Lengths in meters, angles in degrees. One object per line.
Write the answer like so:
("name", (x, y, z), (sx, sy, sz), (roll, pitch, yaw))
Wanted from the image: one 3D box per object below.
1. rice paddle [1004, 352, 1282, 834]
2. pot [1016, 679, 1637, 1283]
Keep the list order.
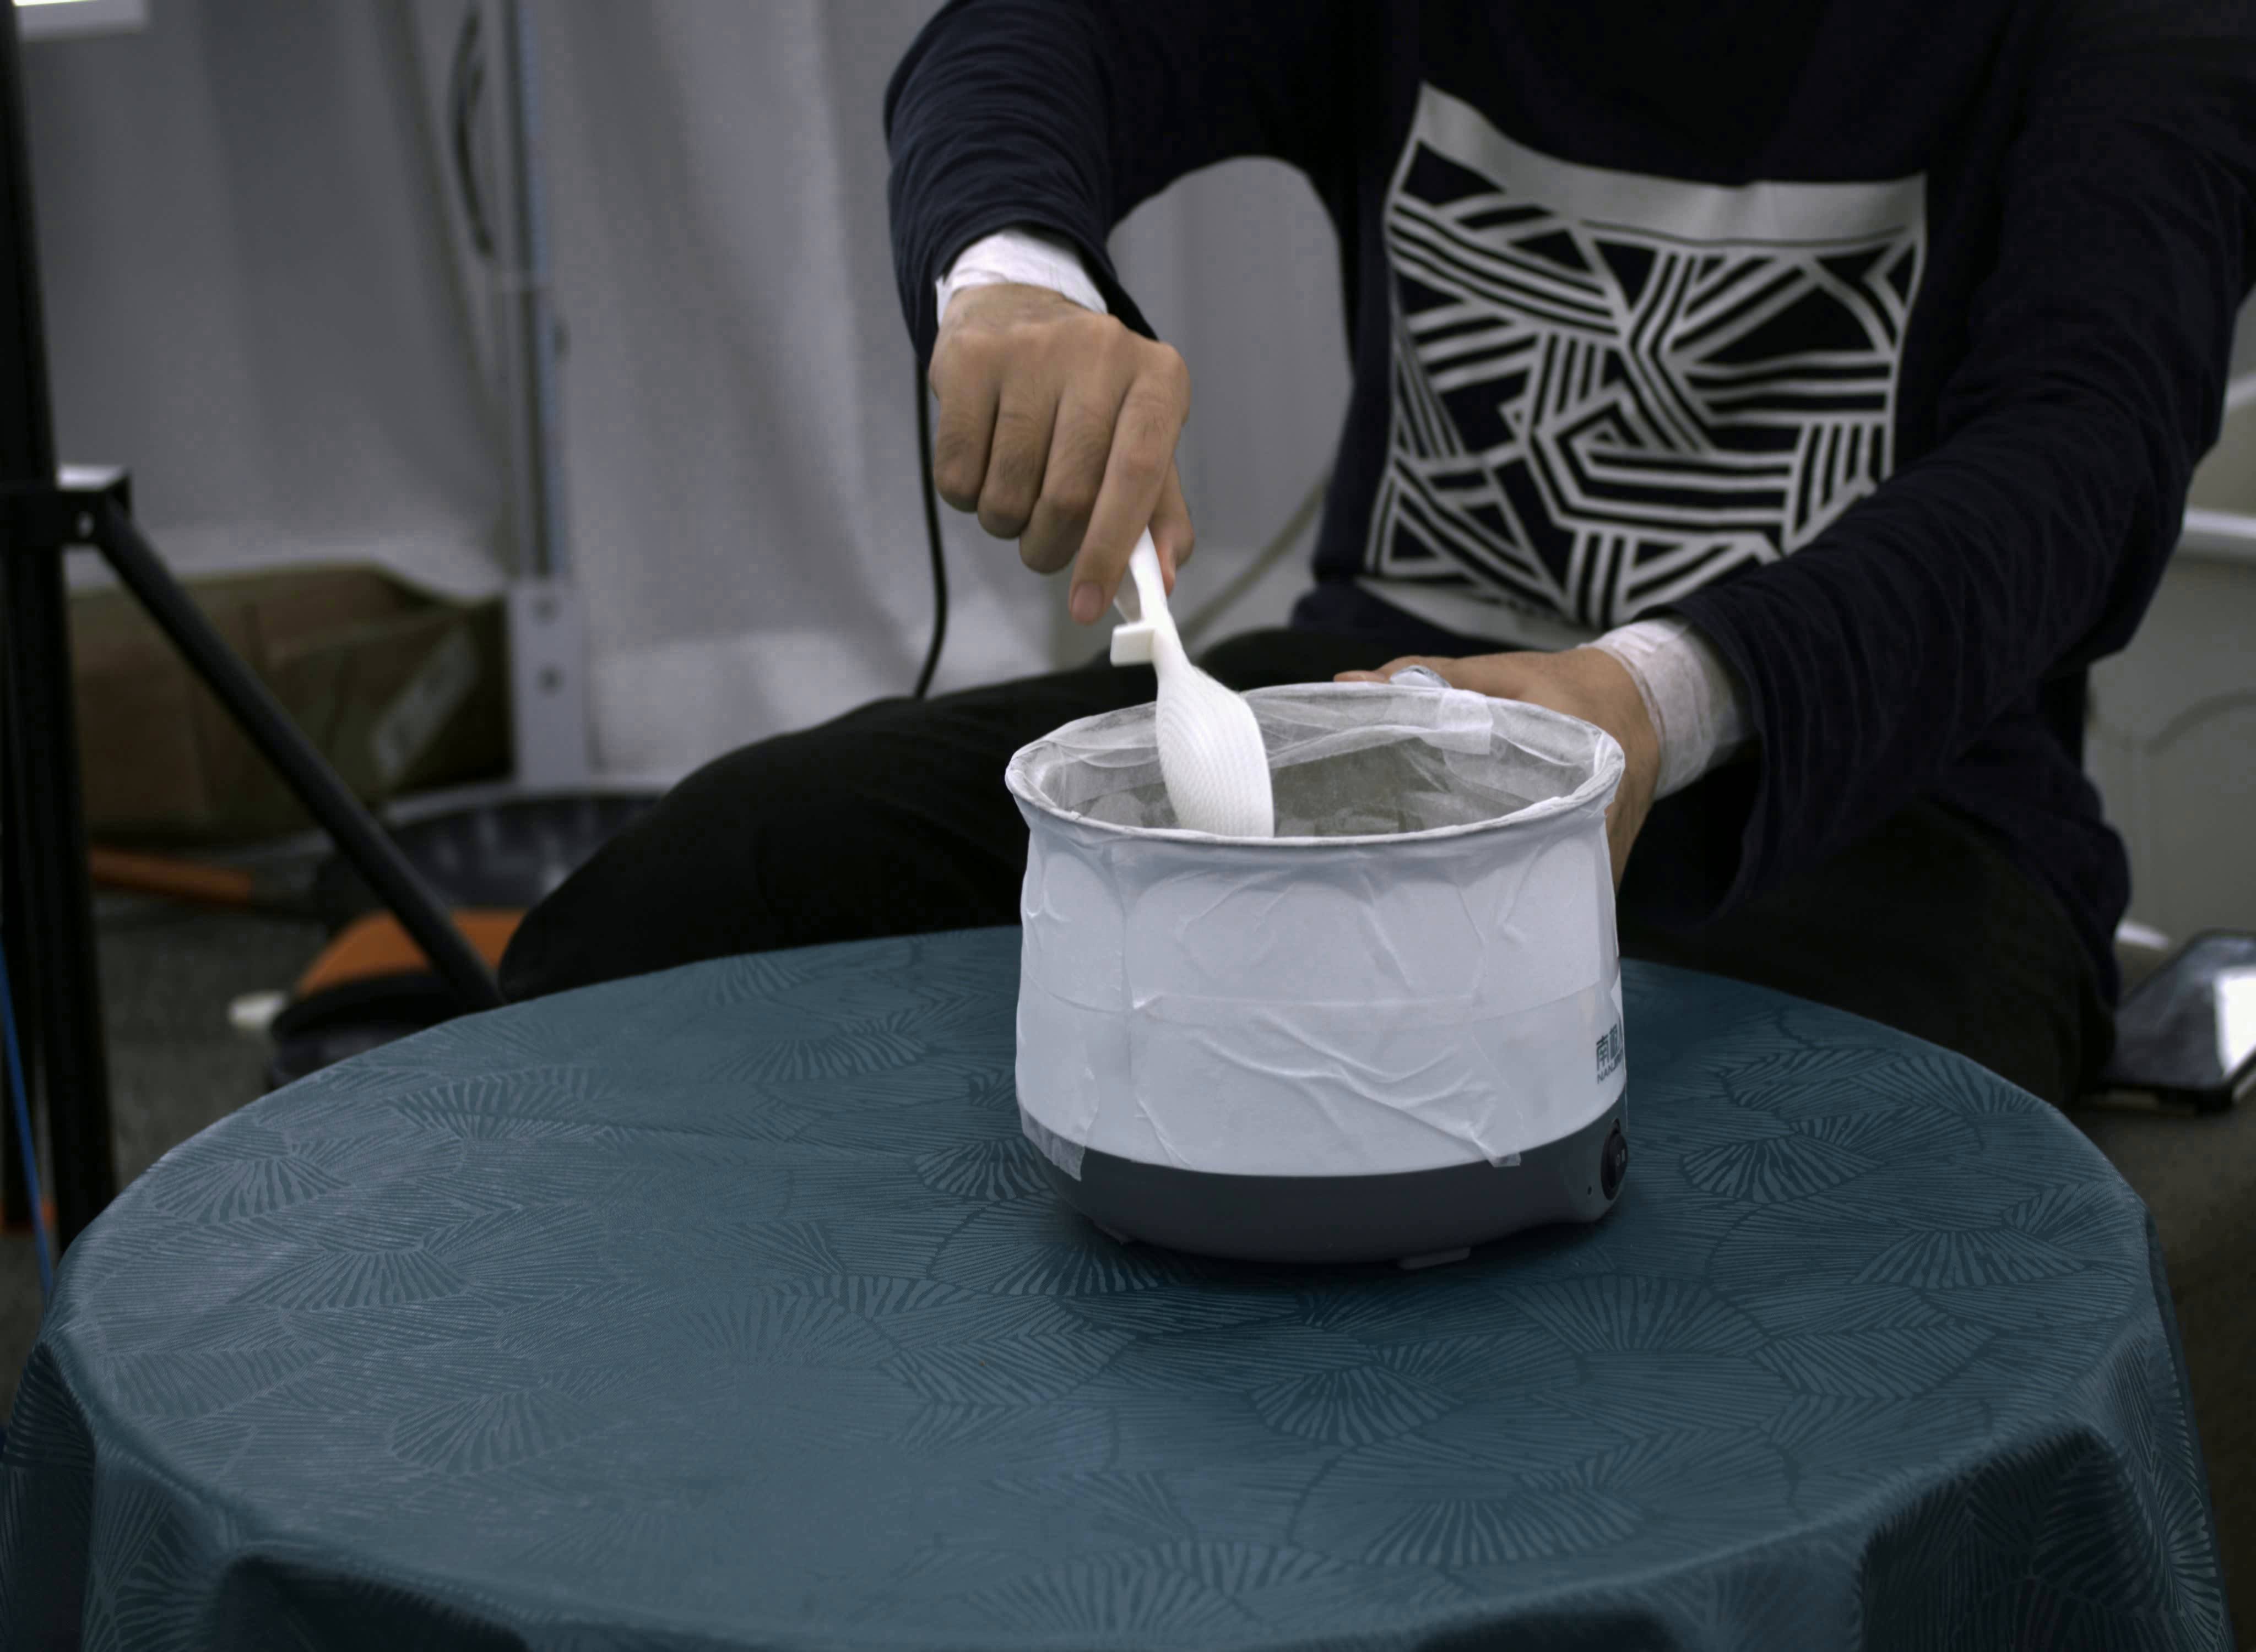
("rice paddle", (0.010, -0.067, 1.547), (0.029, 0.068, 0.209), (-7, 41, -19))
("pot", (0.065, 0.039, 1.558), (0.181, 0.137, 0.231), (5, 15, 19))
